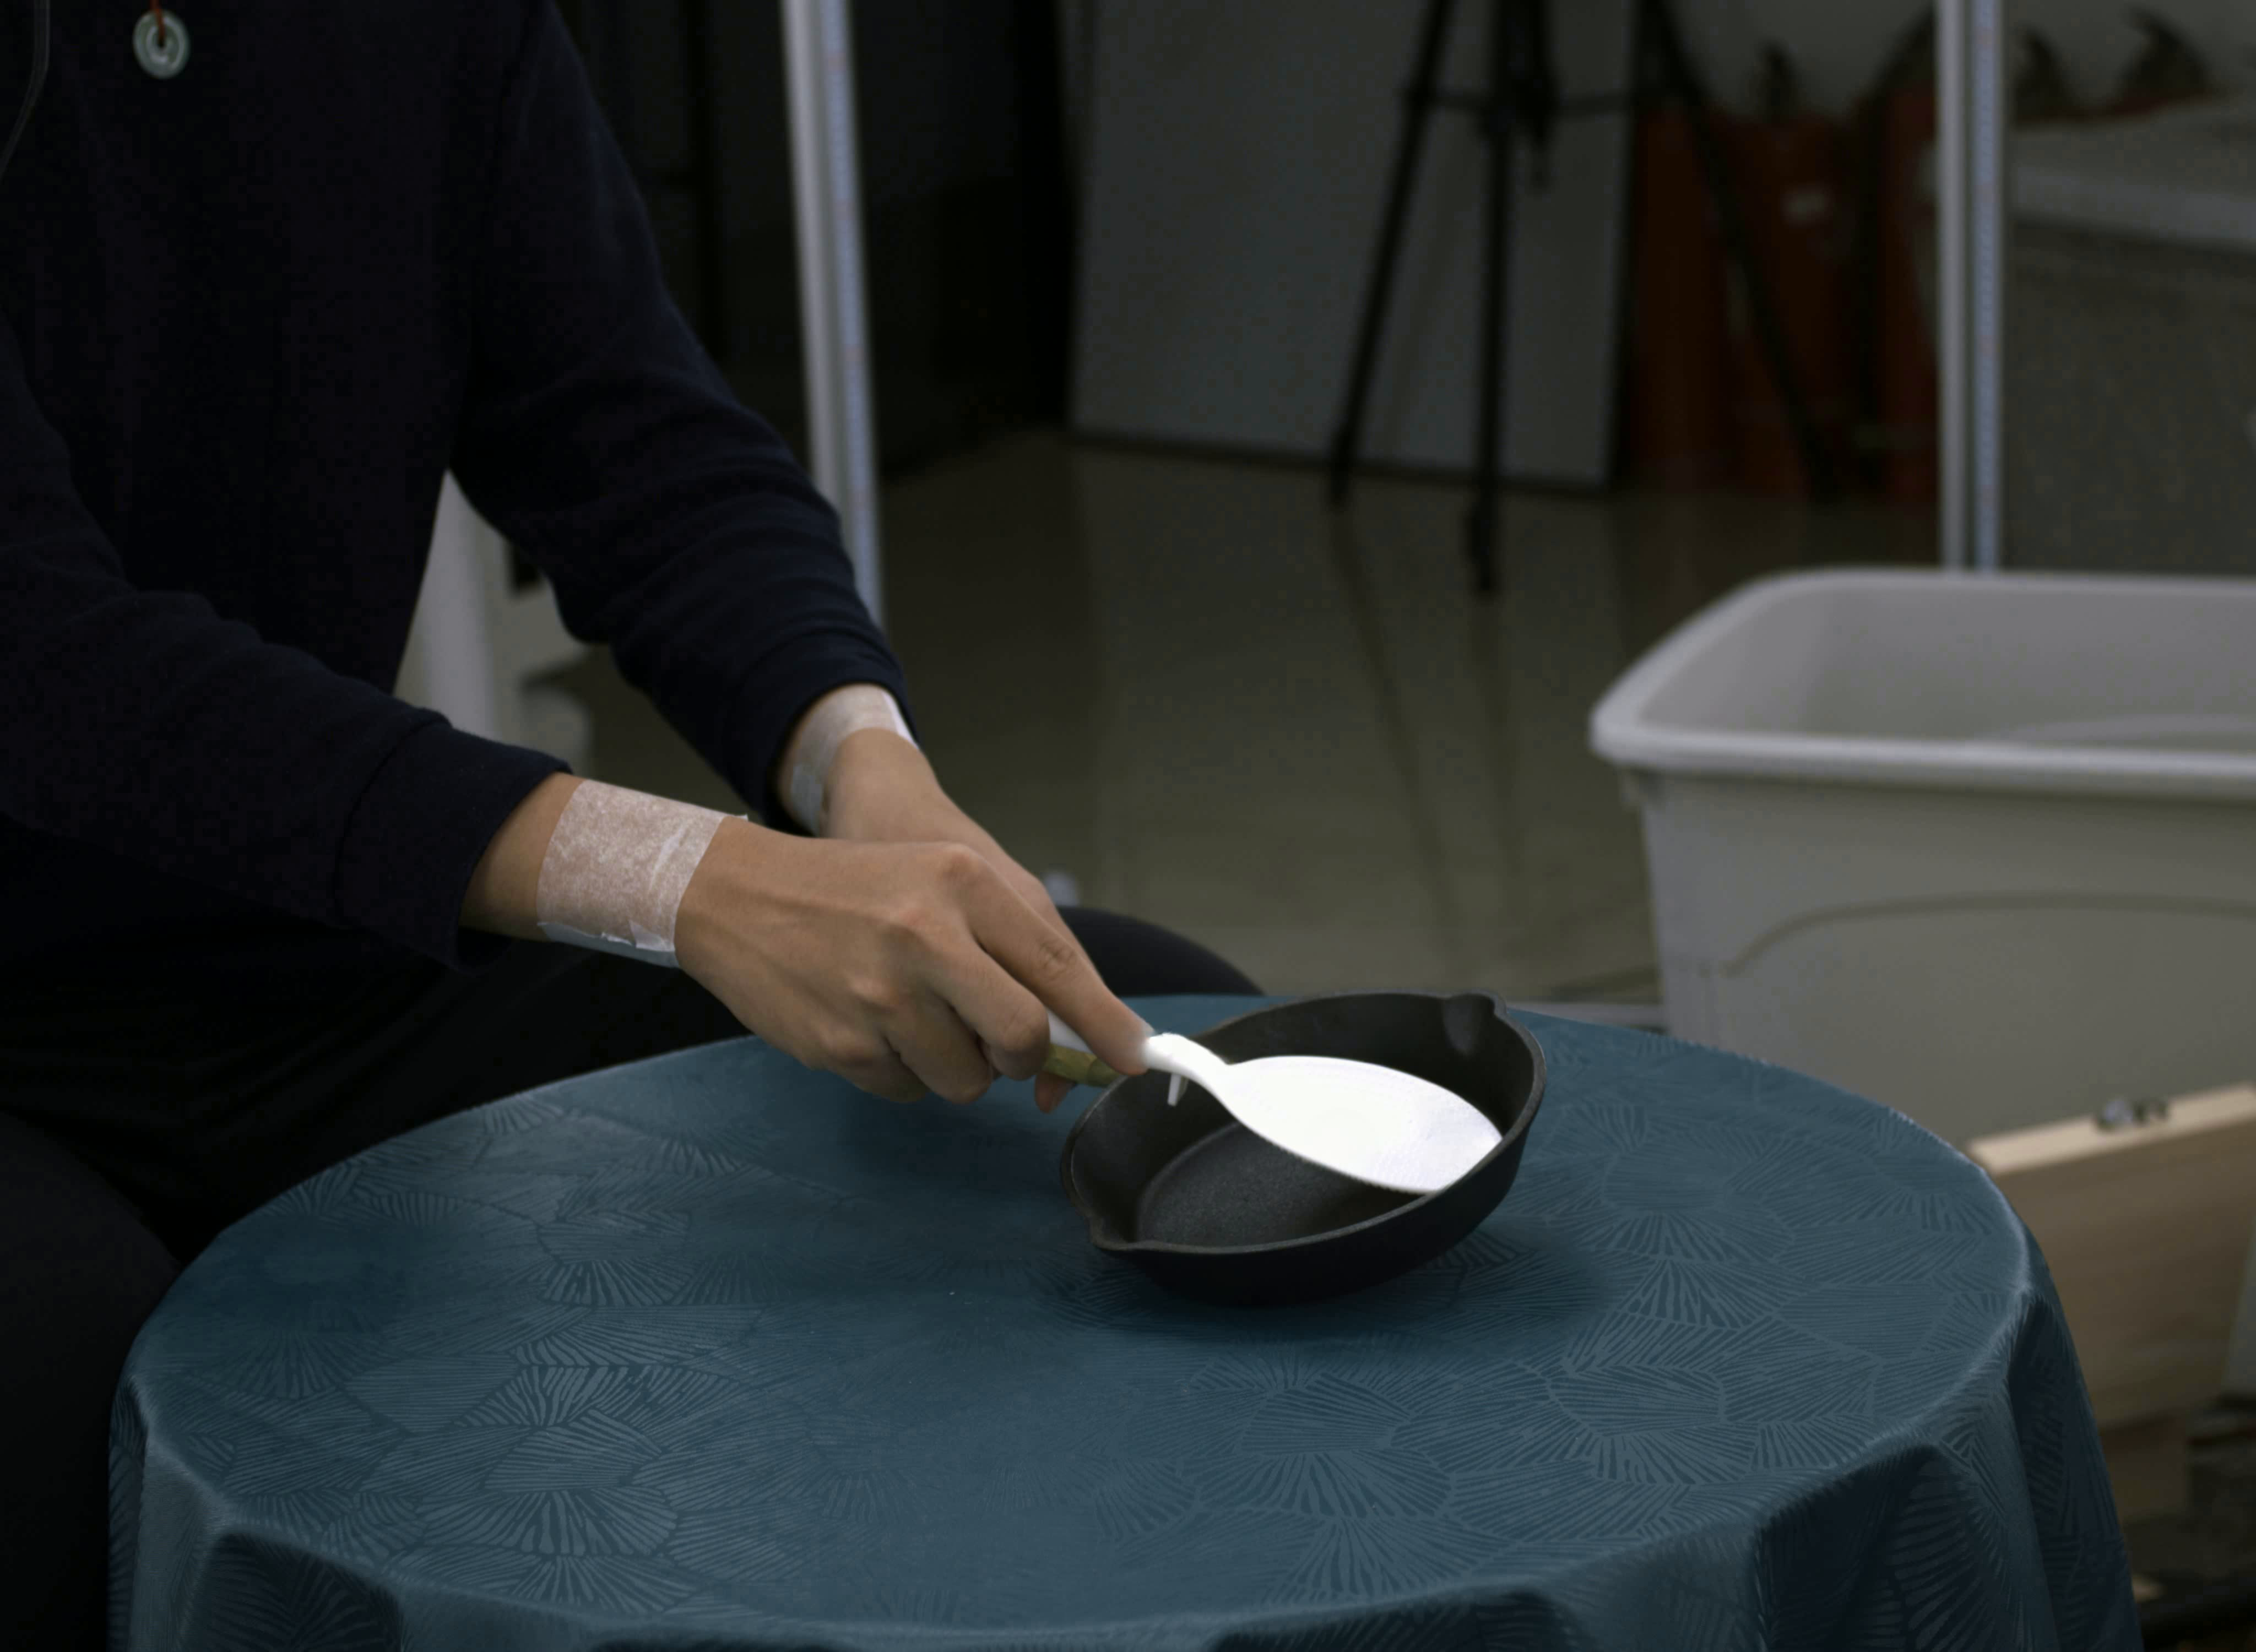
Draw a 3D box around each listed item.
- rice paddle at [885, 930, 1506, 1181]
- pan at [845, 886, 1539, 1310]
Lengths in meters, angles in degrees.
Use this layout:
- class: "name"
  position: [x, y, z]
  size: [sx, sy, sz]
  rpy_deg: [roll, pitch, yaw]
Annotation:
- class: "rice paddle"
  position: [0.023, 0.074, 1.699]
  size: [0.204, 0.030, 0.068]
  rpy_deg: [16, 29, 13]
- class: "pan"
  position: [0.006, 0.079, 1.755]
  size: [0.166, 0.050, 0.328]
  rpy_deg: [-31, 29, -26]
